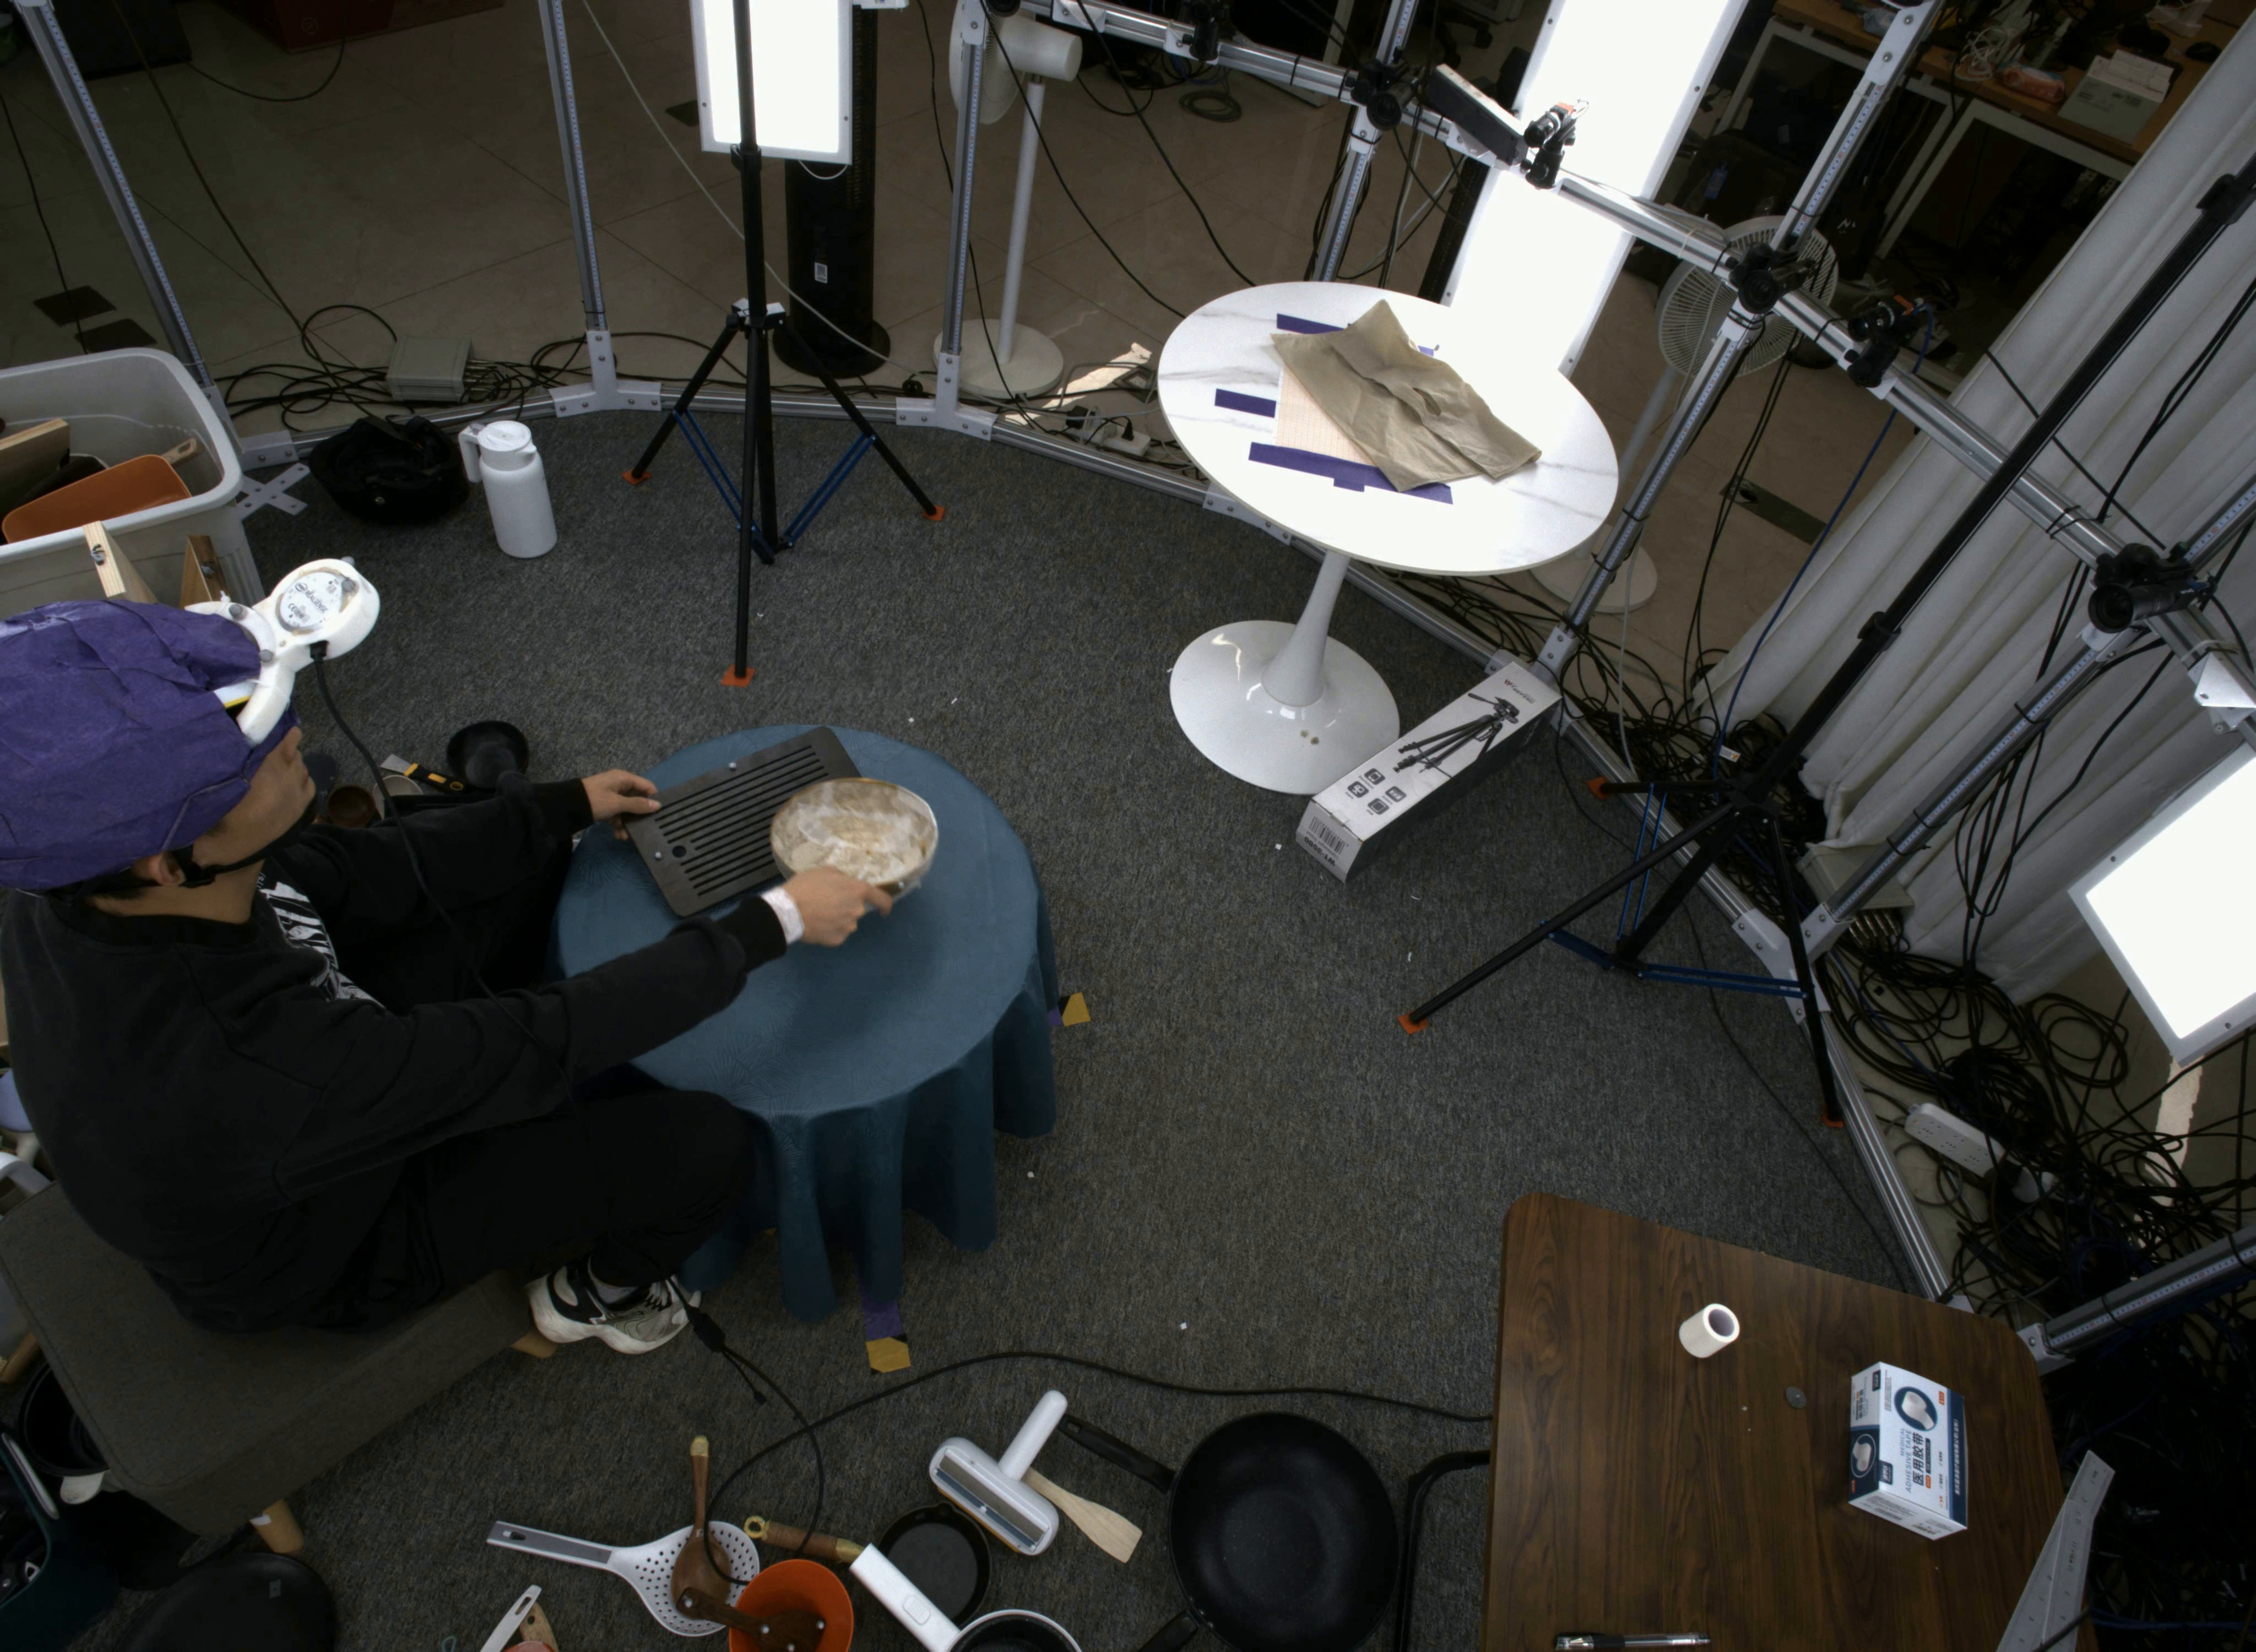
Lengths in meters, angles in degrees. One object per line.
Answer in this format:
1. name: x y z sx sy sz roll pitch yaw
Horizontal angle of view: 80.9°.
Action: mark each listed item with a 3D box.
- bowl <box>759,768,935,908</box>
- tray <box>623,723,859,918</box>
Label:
1. bowl: -0.346 0.030 1.613 0.213 0.097 0.210 6 42 -4
2. tray: -0.486 -0.012 1.688 0.307 0.019 0.169 -28 78 -30
